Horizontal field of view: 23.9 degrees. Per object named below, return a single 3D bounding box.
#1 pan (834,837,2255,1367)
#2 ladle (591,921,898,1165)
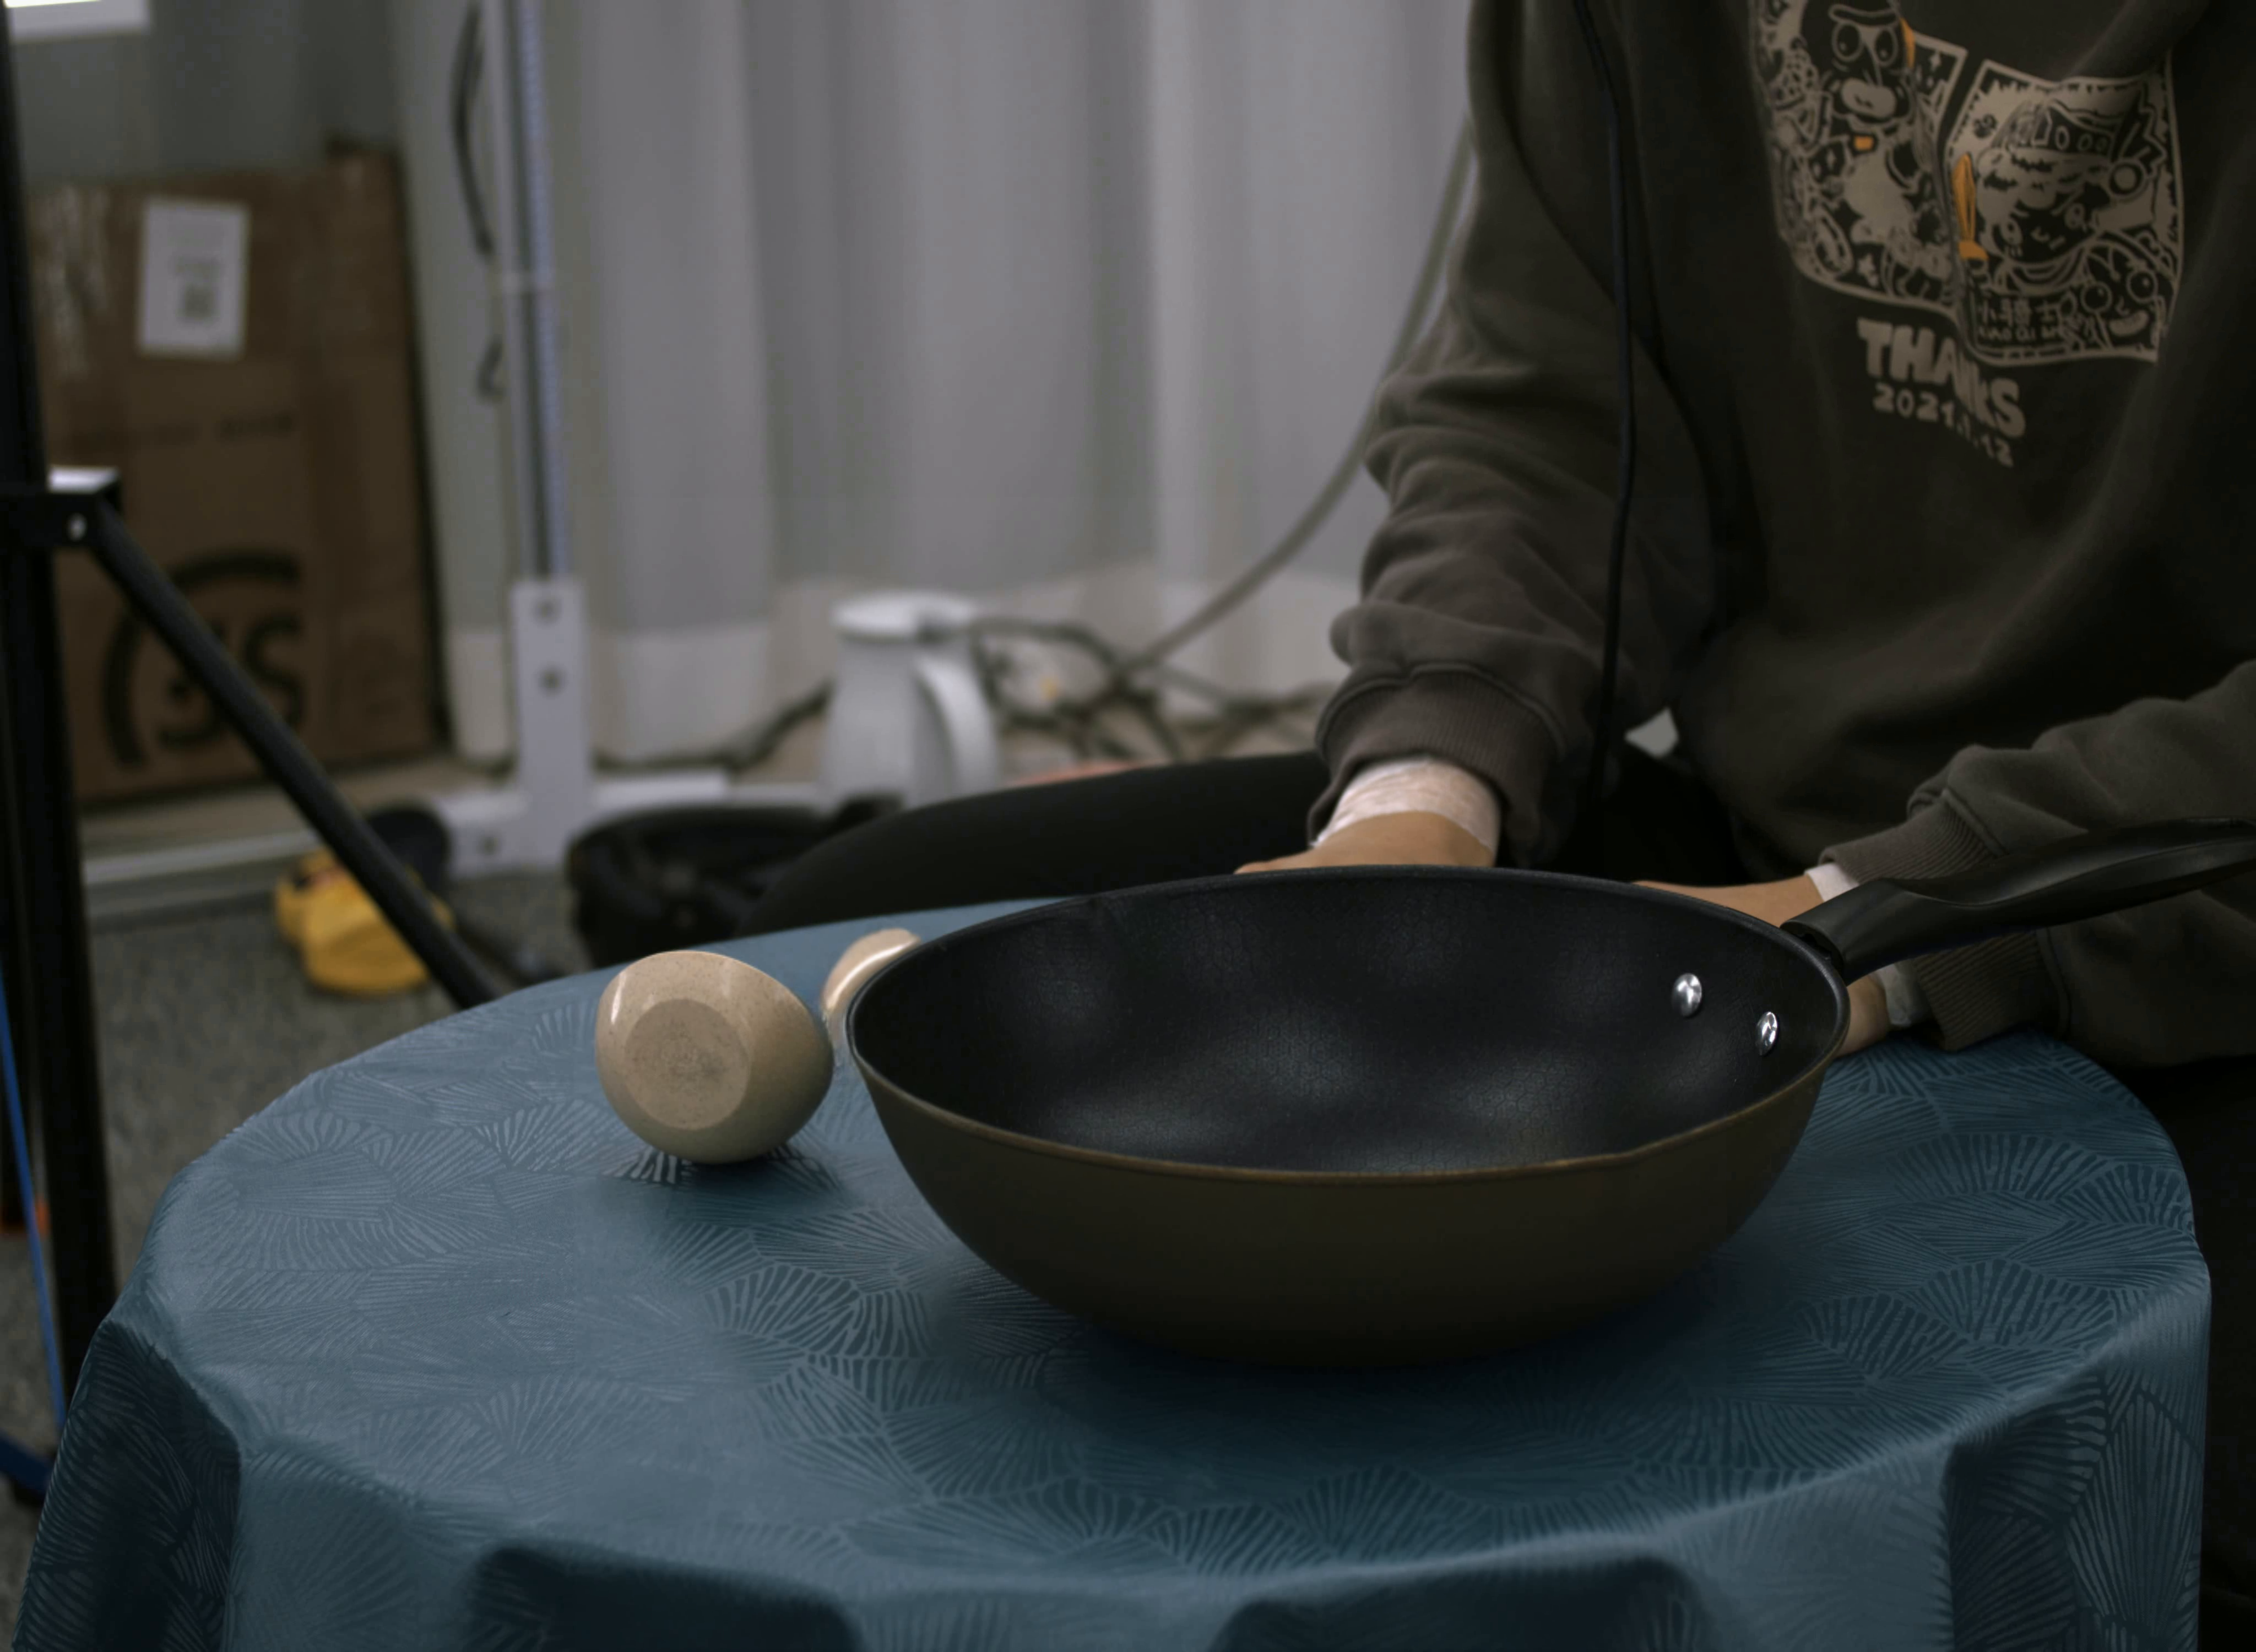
[{"bbox_3d":[0.139,0.072,1.514,0.454,0.087,0.294,-9,17,-25],"label":"pan"},{"bbox_3d":[-0.109,0.039,1.692,0.072,0.073,0.253,-1,17,11],"label":"ladle"}]
